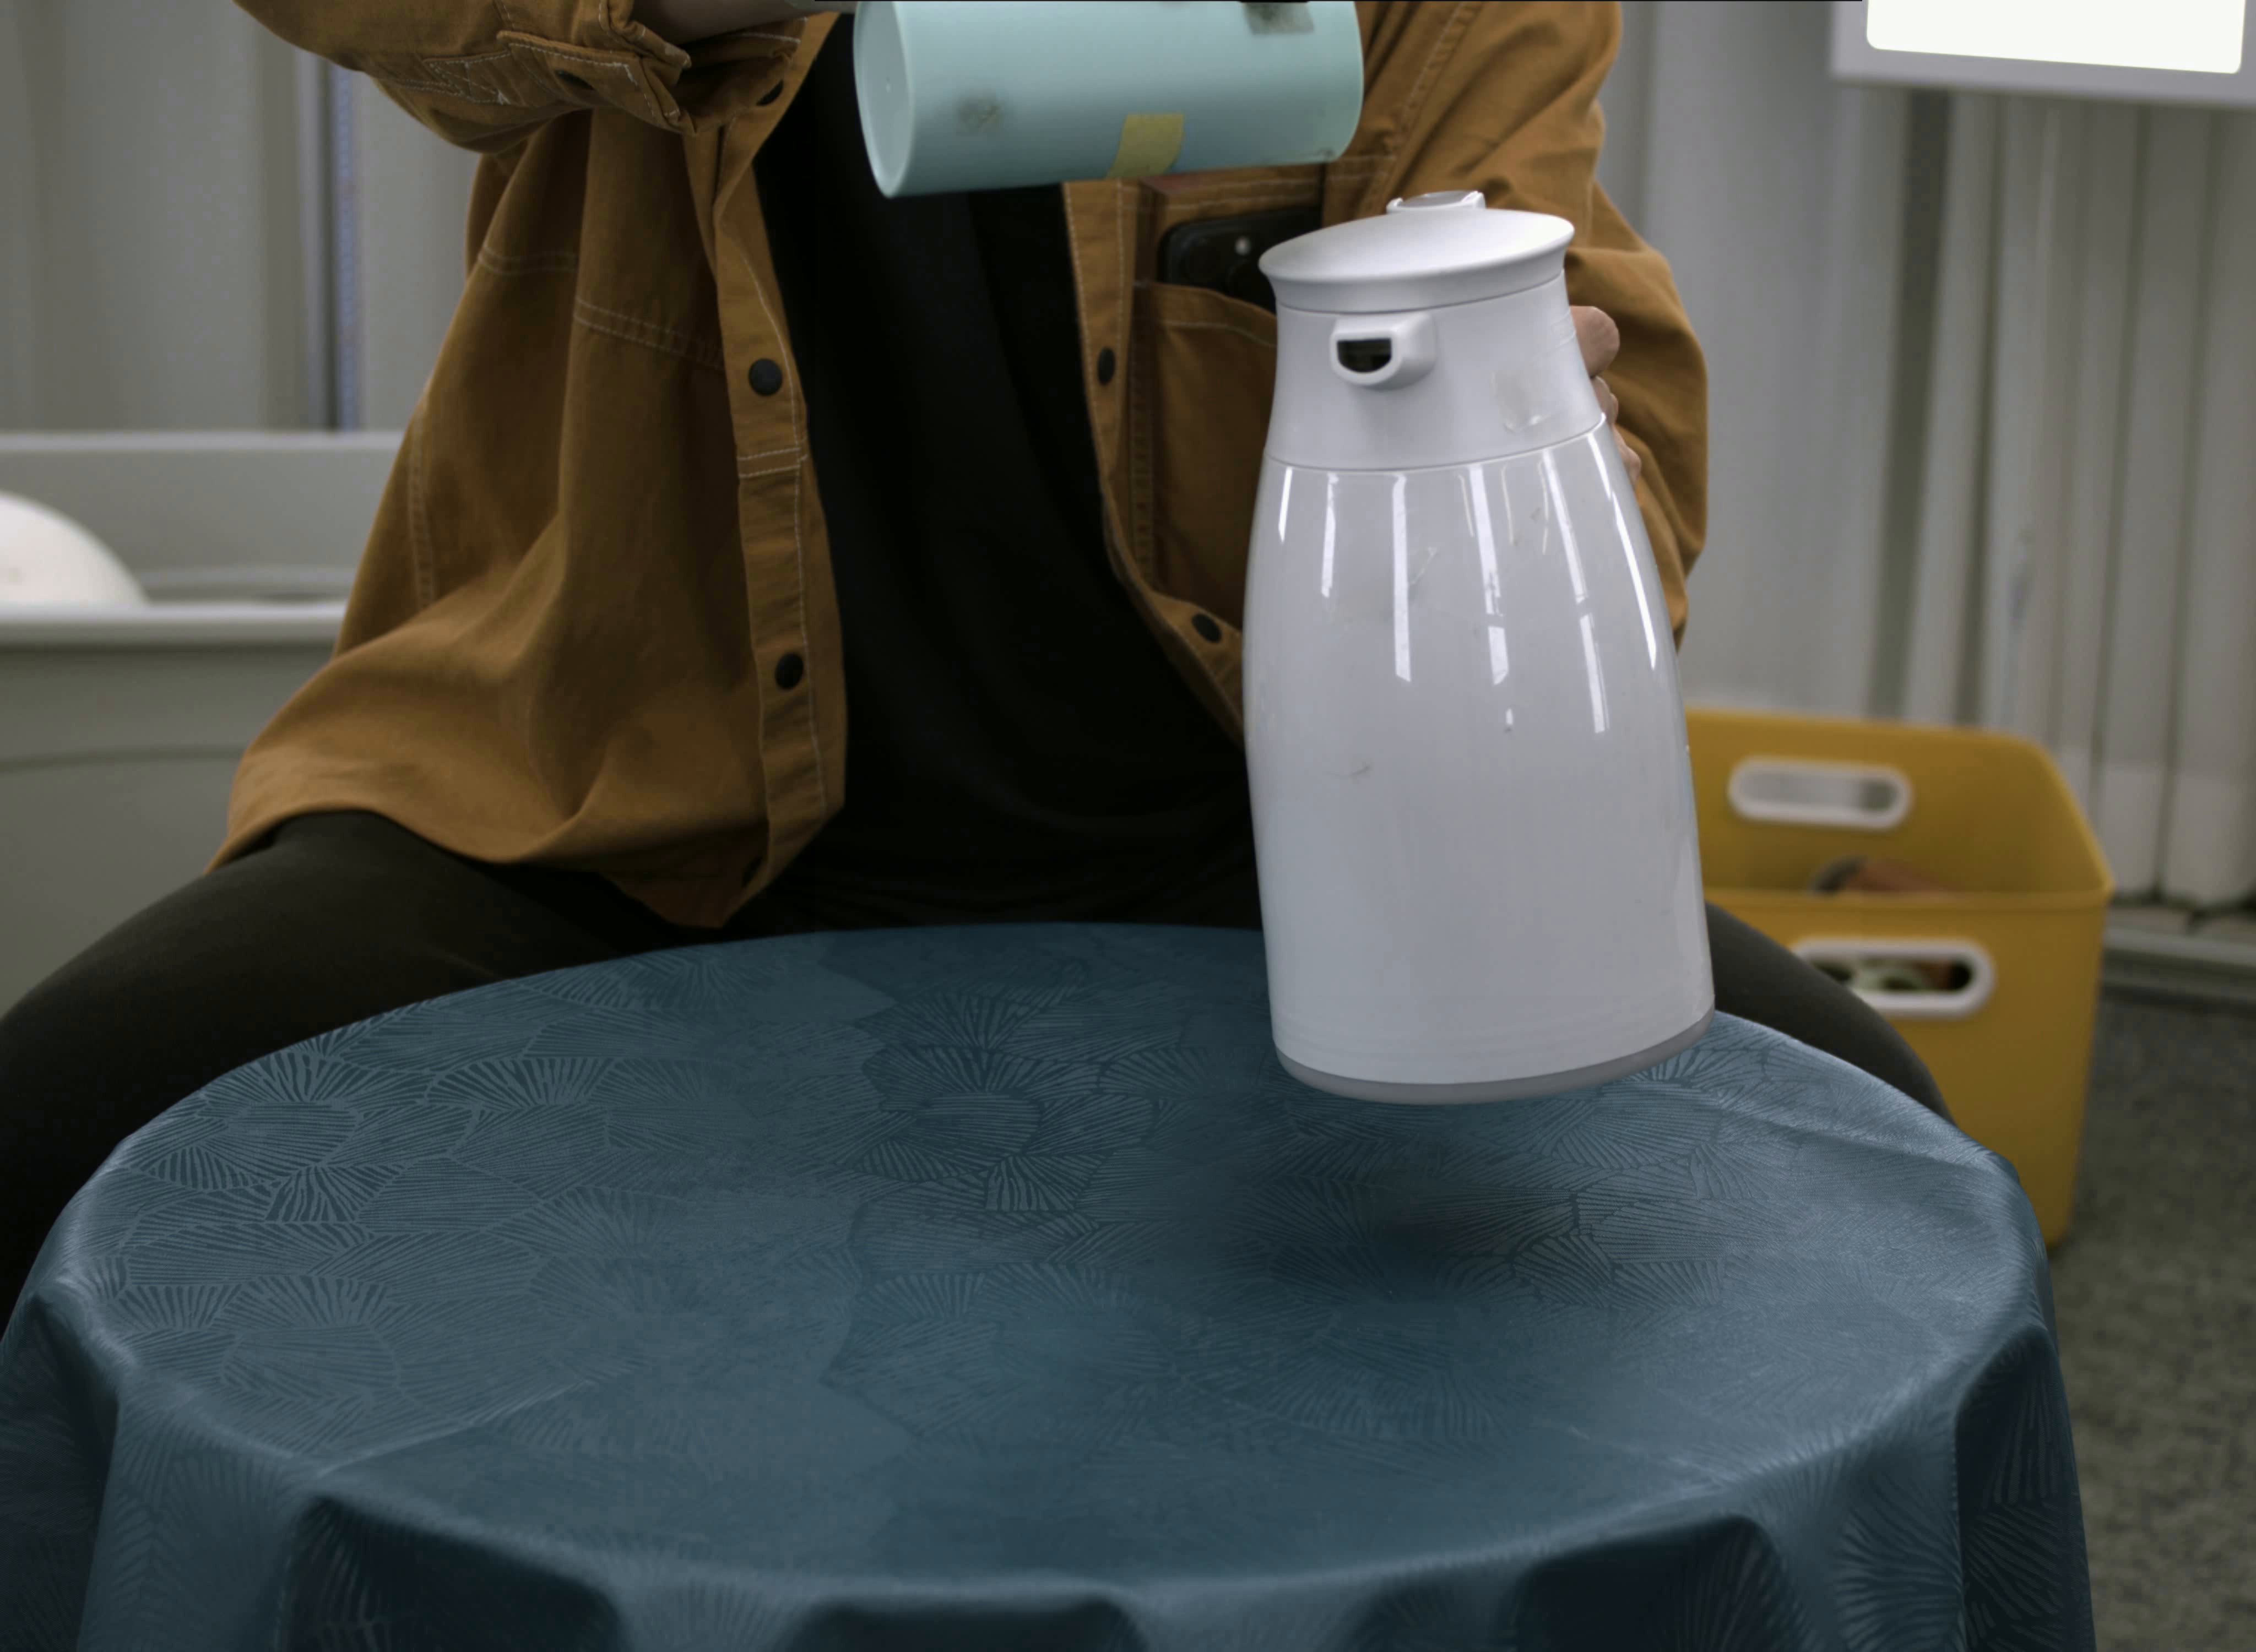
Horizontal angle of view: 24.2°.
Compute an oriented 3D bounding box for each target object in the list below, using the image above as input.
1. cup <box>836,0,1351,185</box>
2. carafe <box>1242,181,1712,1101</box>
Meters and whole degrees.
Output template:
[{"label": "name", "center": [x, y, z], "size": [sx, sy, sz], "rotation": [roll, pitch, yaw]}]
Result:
[{"label": "cup", "center": [-0.010, -0.216, 1.464], "size": [0.132, 0.067, 0.066], "rotation": [-6, 18, -17]}, {"label": "carafe", "center": [0.100, -0.063, 1.556], "size": [0.131, 0.251, 0.167], "rotation": [-2, 16, 18]}]
